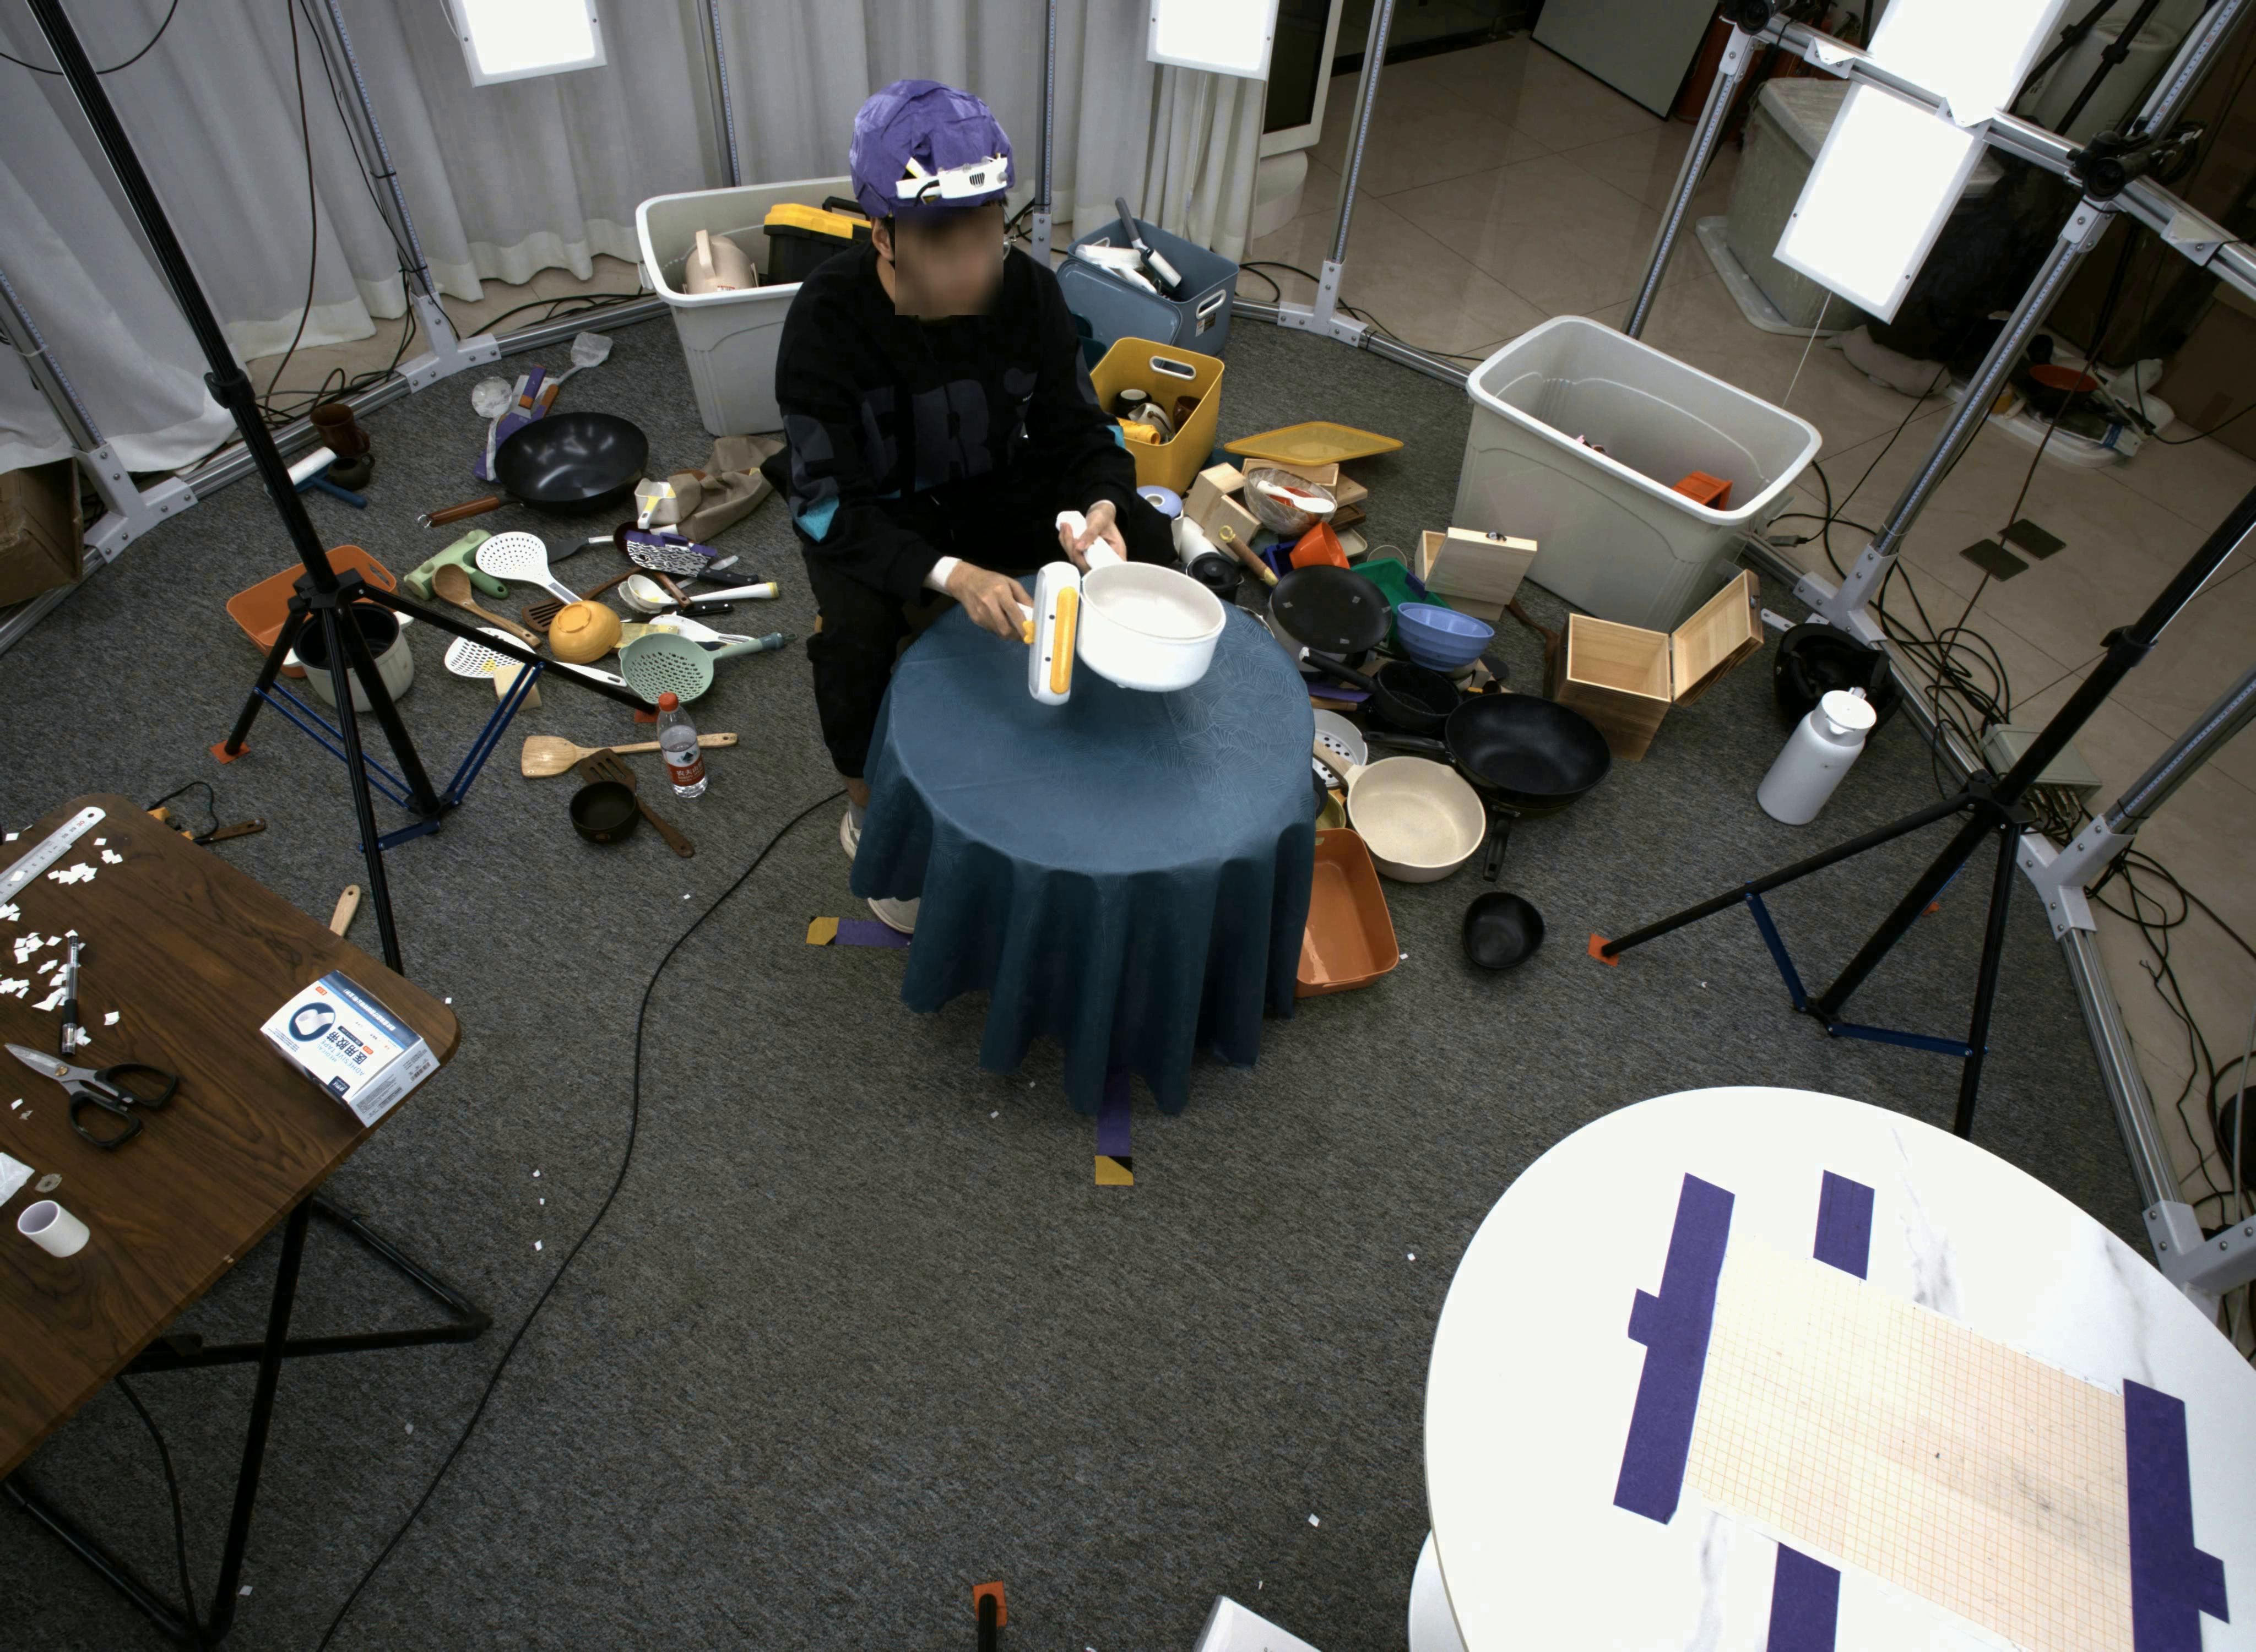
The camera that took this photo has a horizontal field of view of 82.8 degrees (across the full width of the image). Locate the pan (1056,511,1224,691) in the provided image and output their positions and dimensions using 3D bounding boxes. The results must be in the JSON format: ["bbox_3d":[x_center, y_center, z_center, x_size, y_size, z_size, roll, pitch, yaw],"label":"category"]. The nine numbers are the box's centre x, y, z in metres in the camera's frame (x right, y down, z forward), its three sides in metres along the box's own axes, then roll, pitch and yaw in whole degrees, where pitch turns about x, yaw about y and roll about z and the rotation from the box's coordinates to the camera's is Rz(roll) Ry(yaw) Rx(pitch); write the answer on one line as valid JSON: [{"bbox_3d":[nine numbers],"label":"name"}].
[{"bbox_3d":[-0.015,-0.315,1.791,0.201,0.100,0.363,-8,42,-30],"label":"pan"}]

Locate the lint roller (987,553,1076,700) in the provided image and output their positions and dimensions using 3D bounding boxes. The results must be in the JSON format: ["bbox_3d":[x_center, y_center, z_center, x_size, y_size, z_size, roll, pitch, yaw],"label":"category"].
[{"bbox_3d":[-0.133,-0.281,1.757,0.074,0.190,0.195,-9,21,-25],"label":"lint roller"}]
